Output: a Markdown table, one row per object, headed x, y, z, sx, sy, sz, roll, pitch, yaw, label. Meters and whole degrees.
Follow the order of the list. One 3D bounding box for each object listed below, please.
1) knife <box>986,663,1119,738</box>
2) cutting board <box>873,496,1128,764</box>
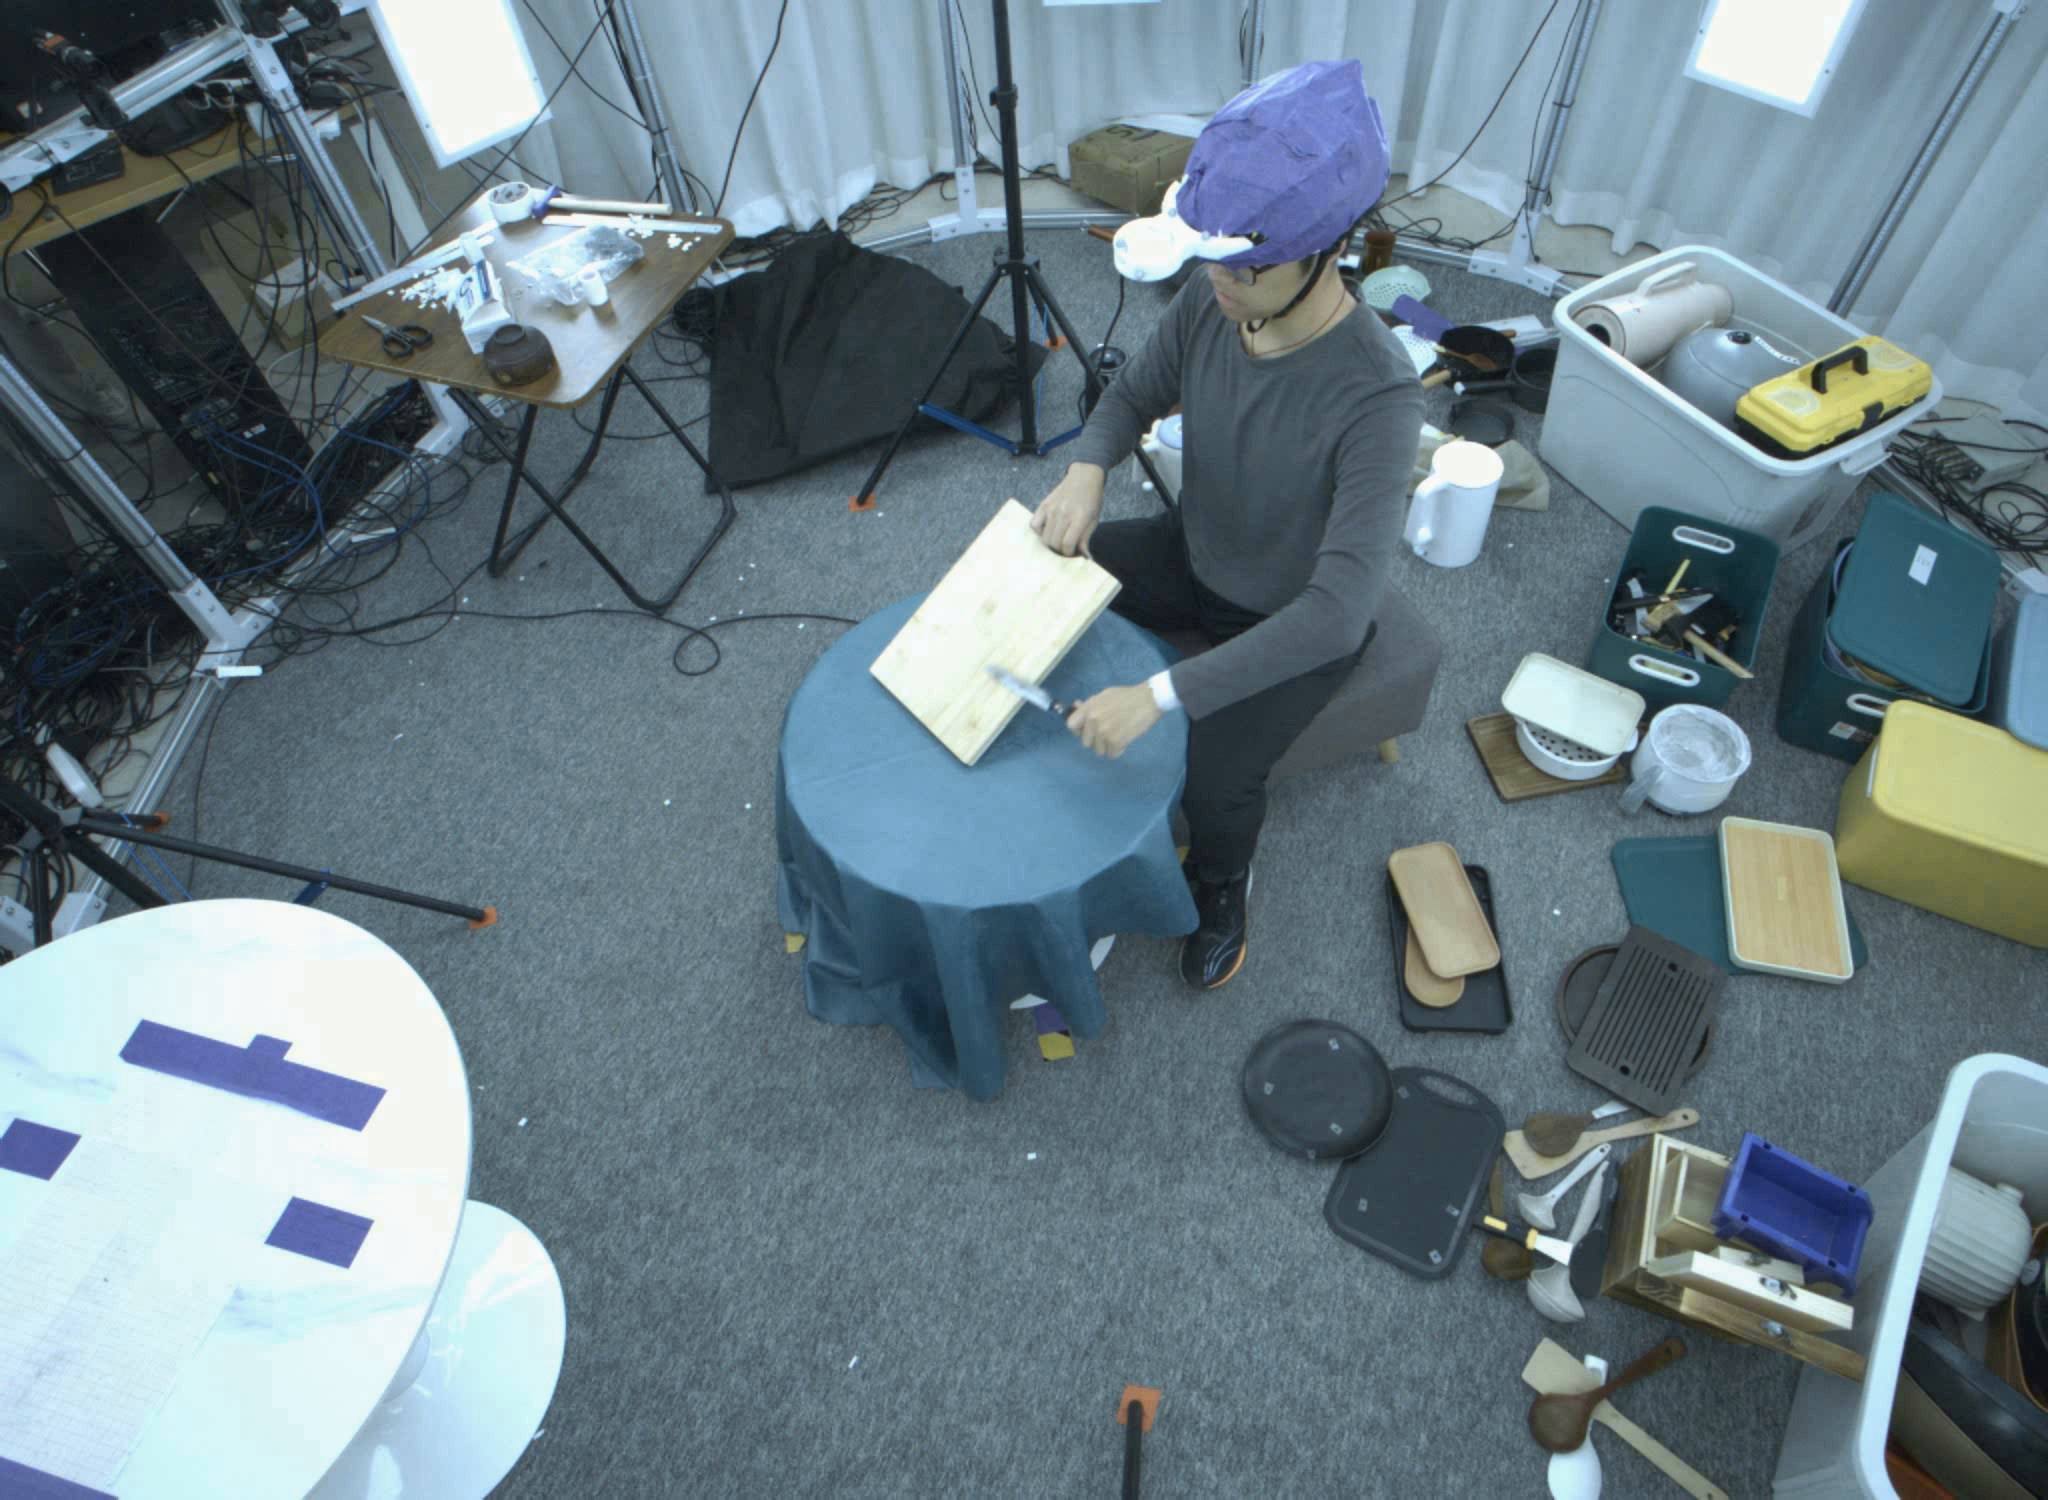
| x | y | z | sx | sy | sz | roll | pitch | yaw | label |
| --- | --- | --- | --- | --- | --- | --- | --- | --- | --- |
| 0.038 | -0.076 | 1.736 | 0.234 | 0.016 | 0.024 | 29 | 103 | 25 | knife |
| -0.044 | -0.182 | 1.813 | 0.246 | 0.024 | 0.348 | 42 | 94 | 26 | cutting board |
